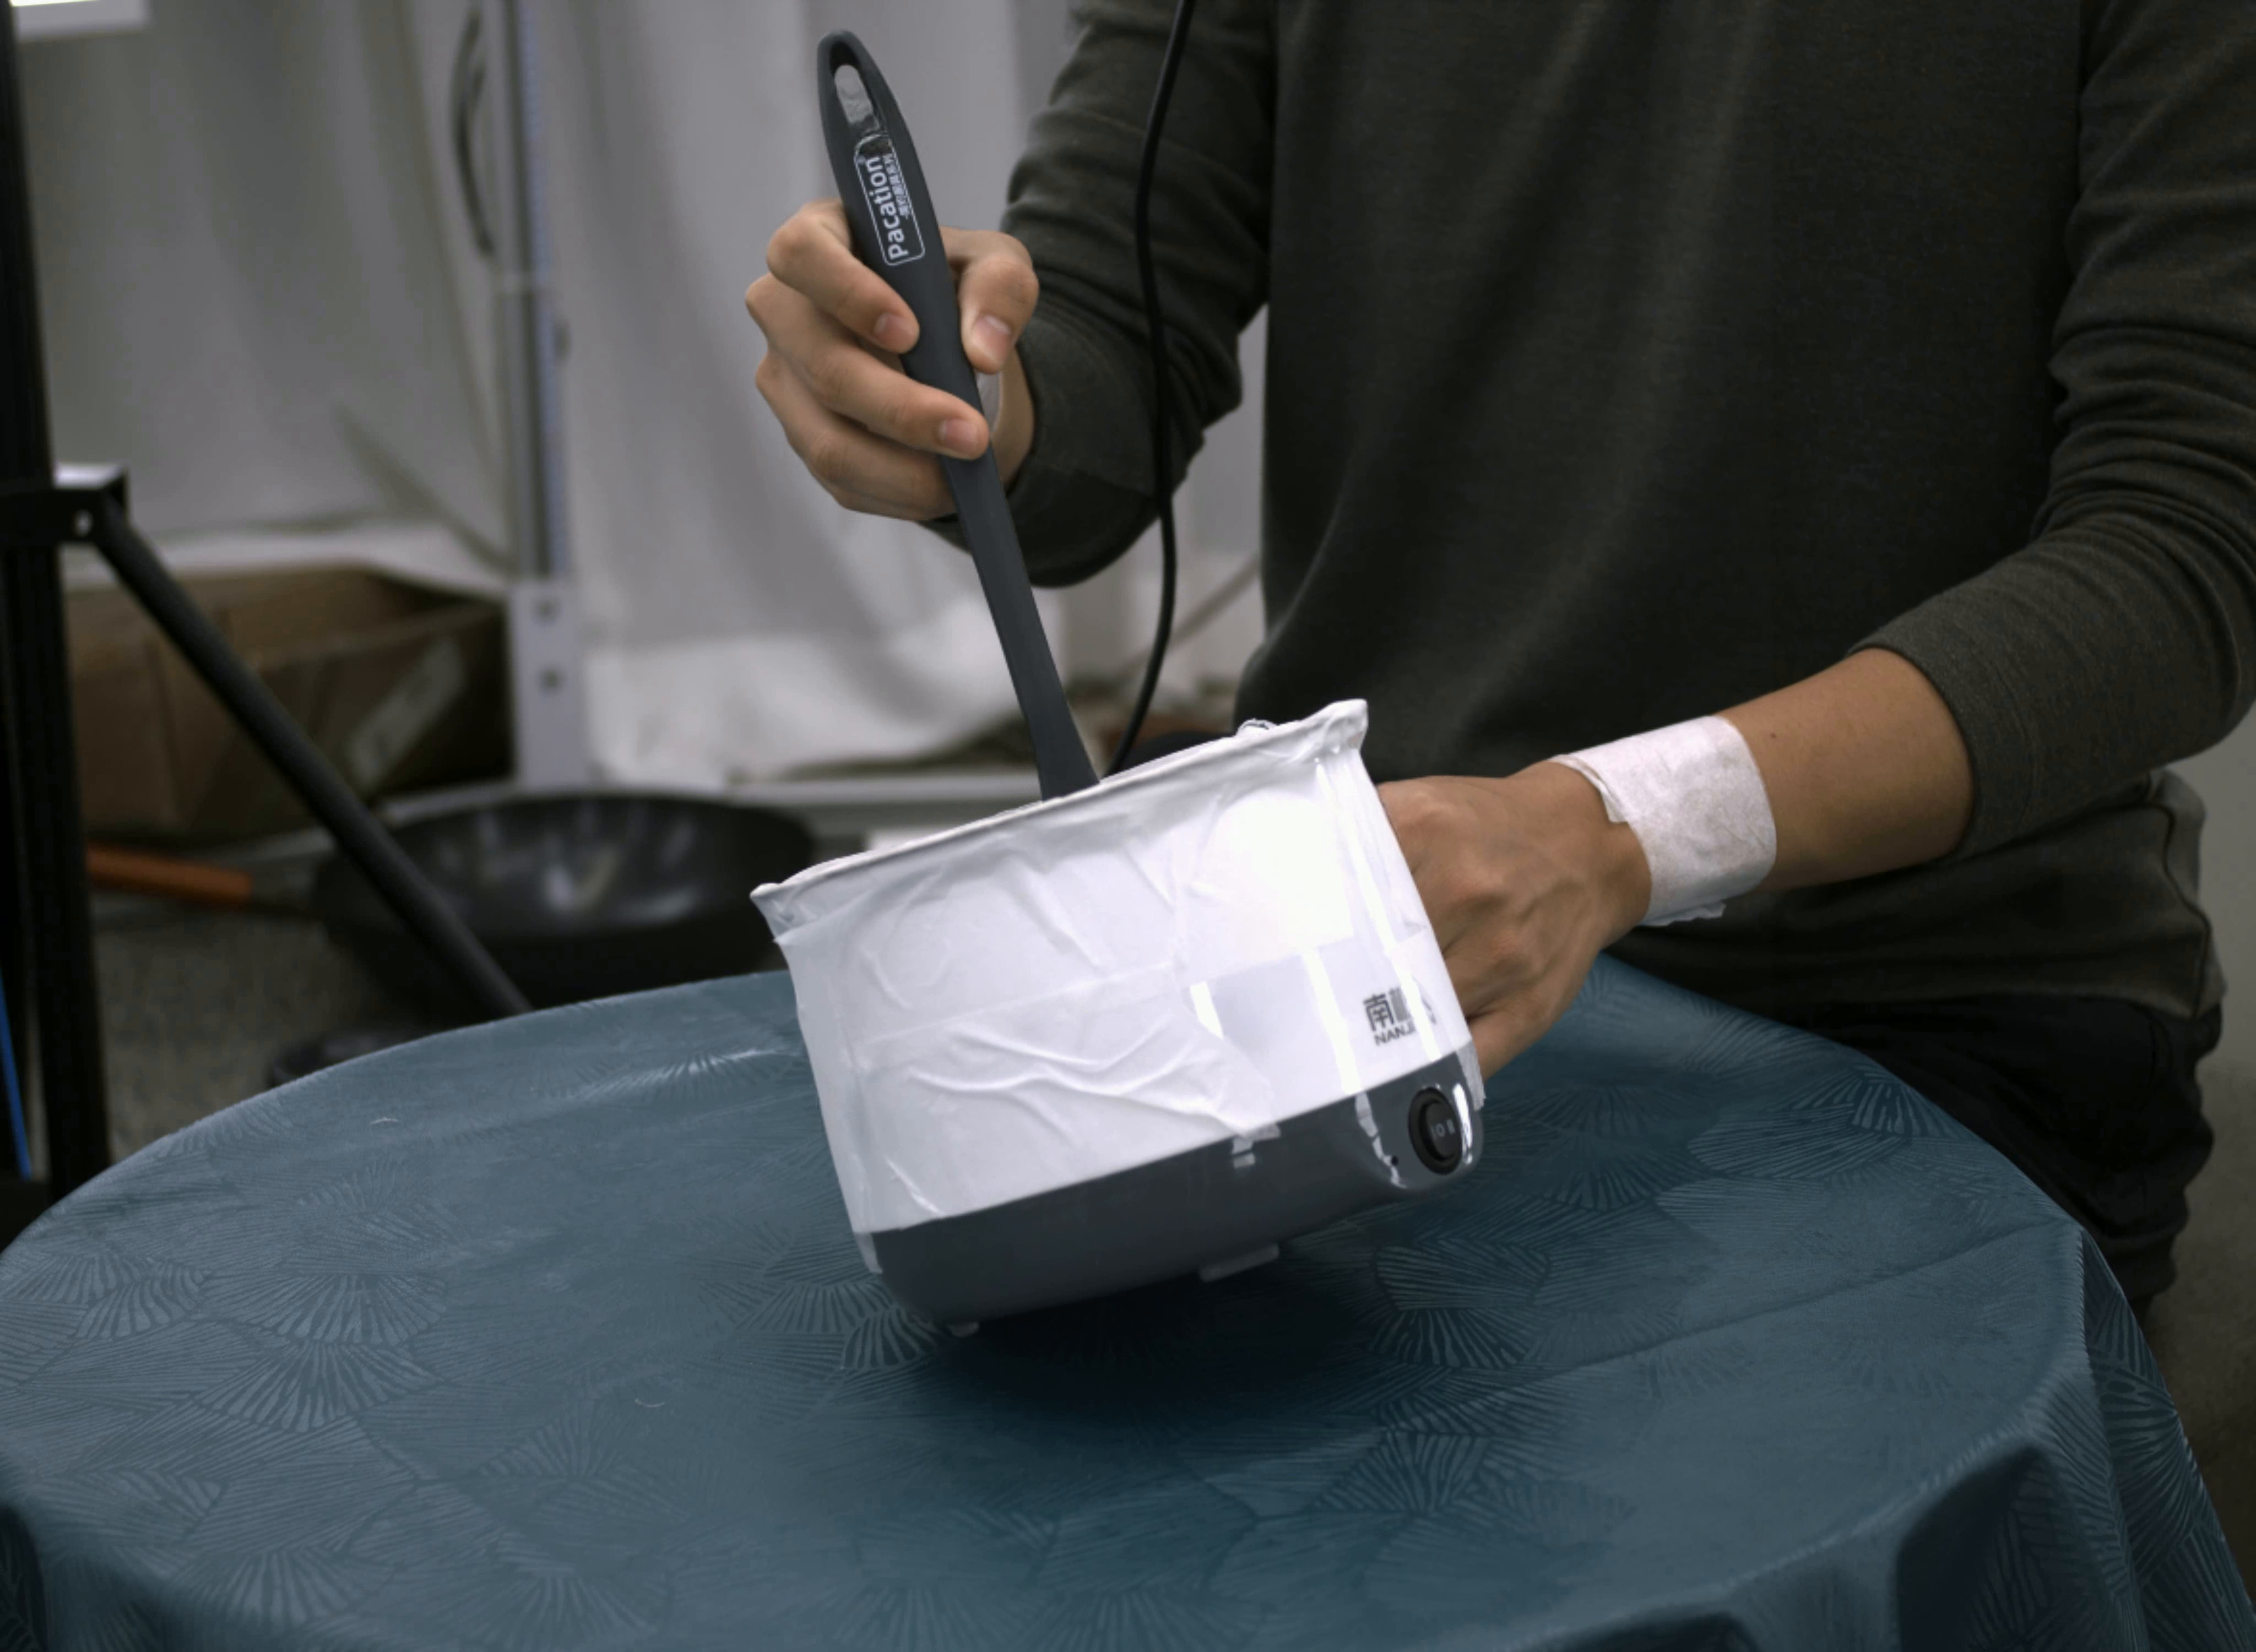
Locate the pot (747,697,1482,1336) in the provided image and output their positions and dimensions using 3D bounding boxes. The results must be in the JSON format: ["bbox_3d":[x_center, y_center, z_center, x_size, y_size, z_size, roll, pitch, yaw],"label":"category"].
[{"bbox_3d":[0.015,0.048,1.465,0.182,0.137,0.229,-16,1,36],"label":"pot"}]

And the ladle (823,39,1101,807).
[{"bbox_3d":[-0.037,-0.085,1.498,0.085,0.317,0.064,-16,-13,-5],"label":"ladle"}]
